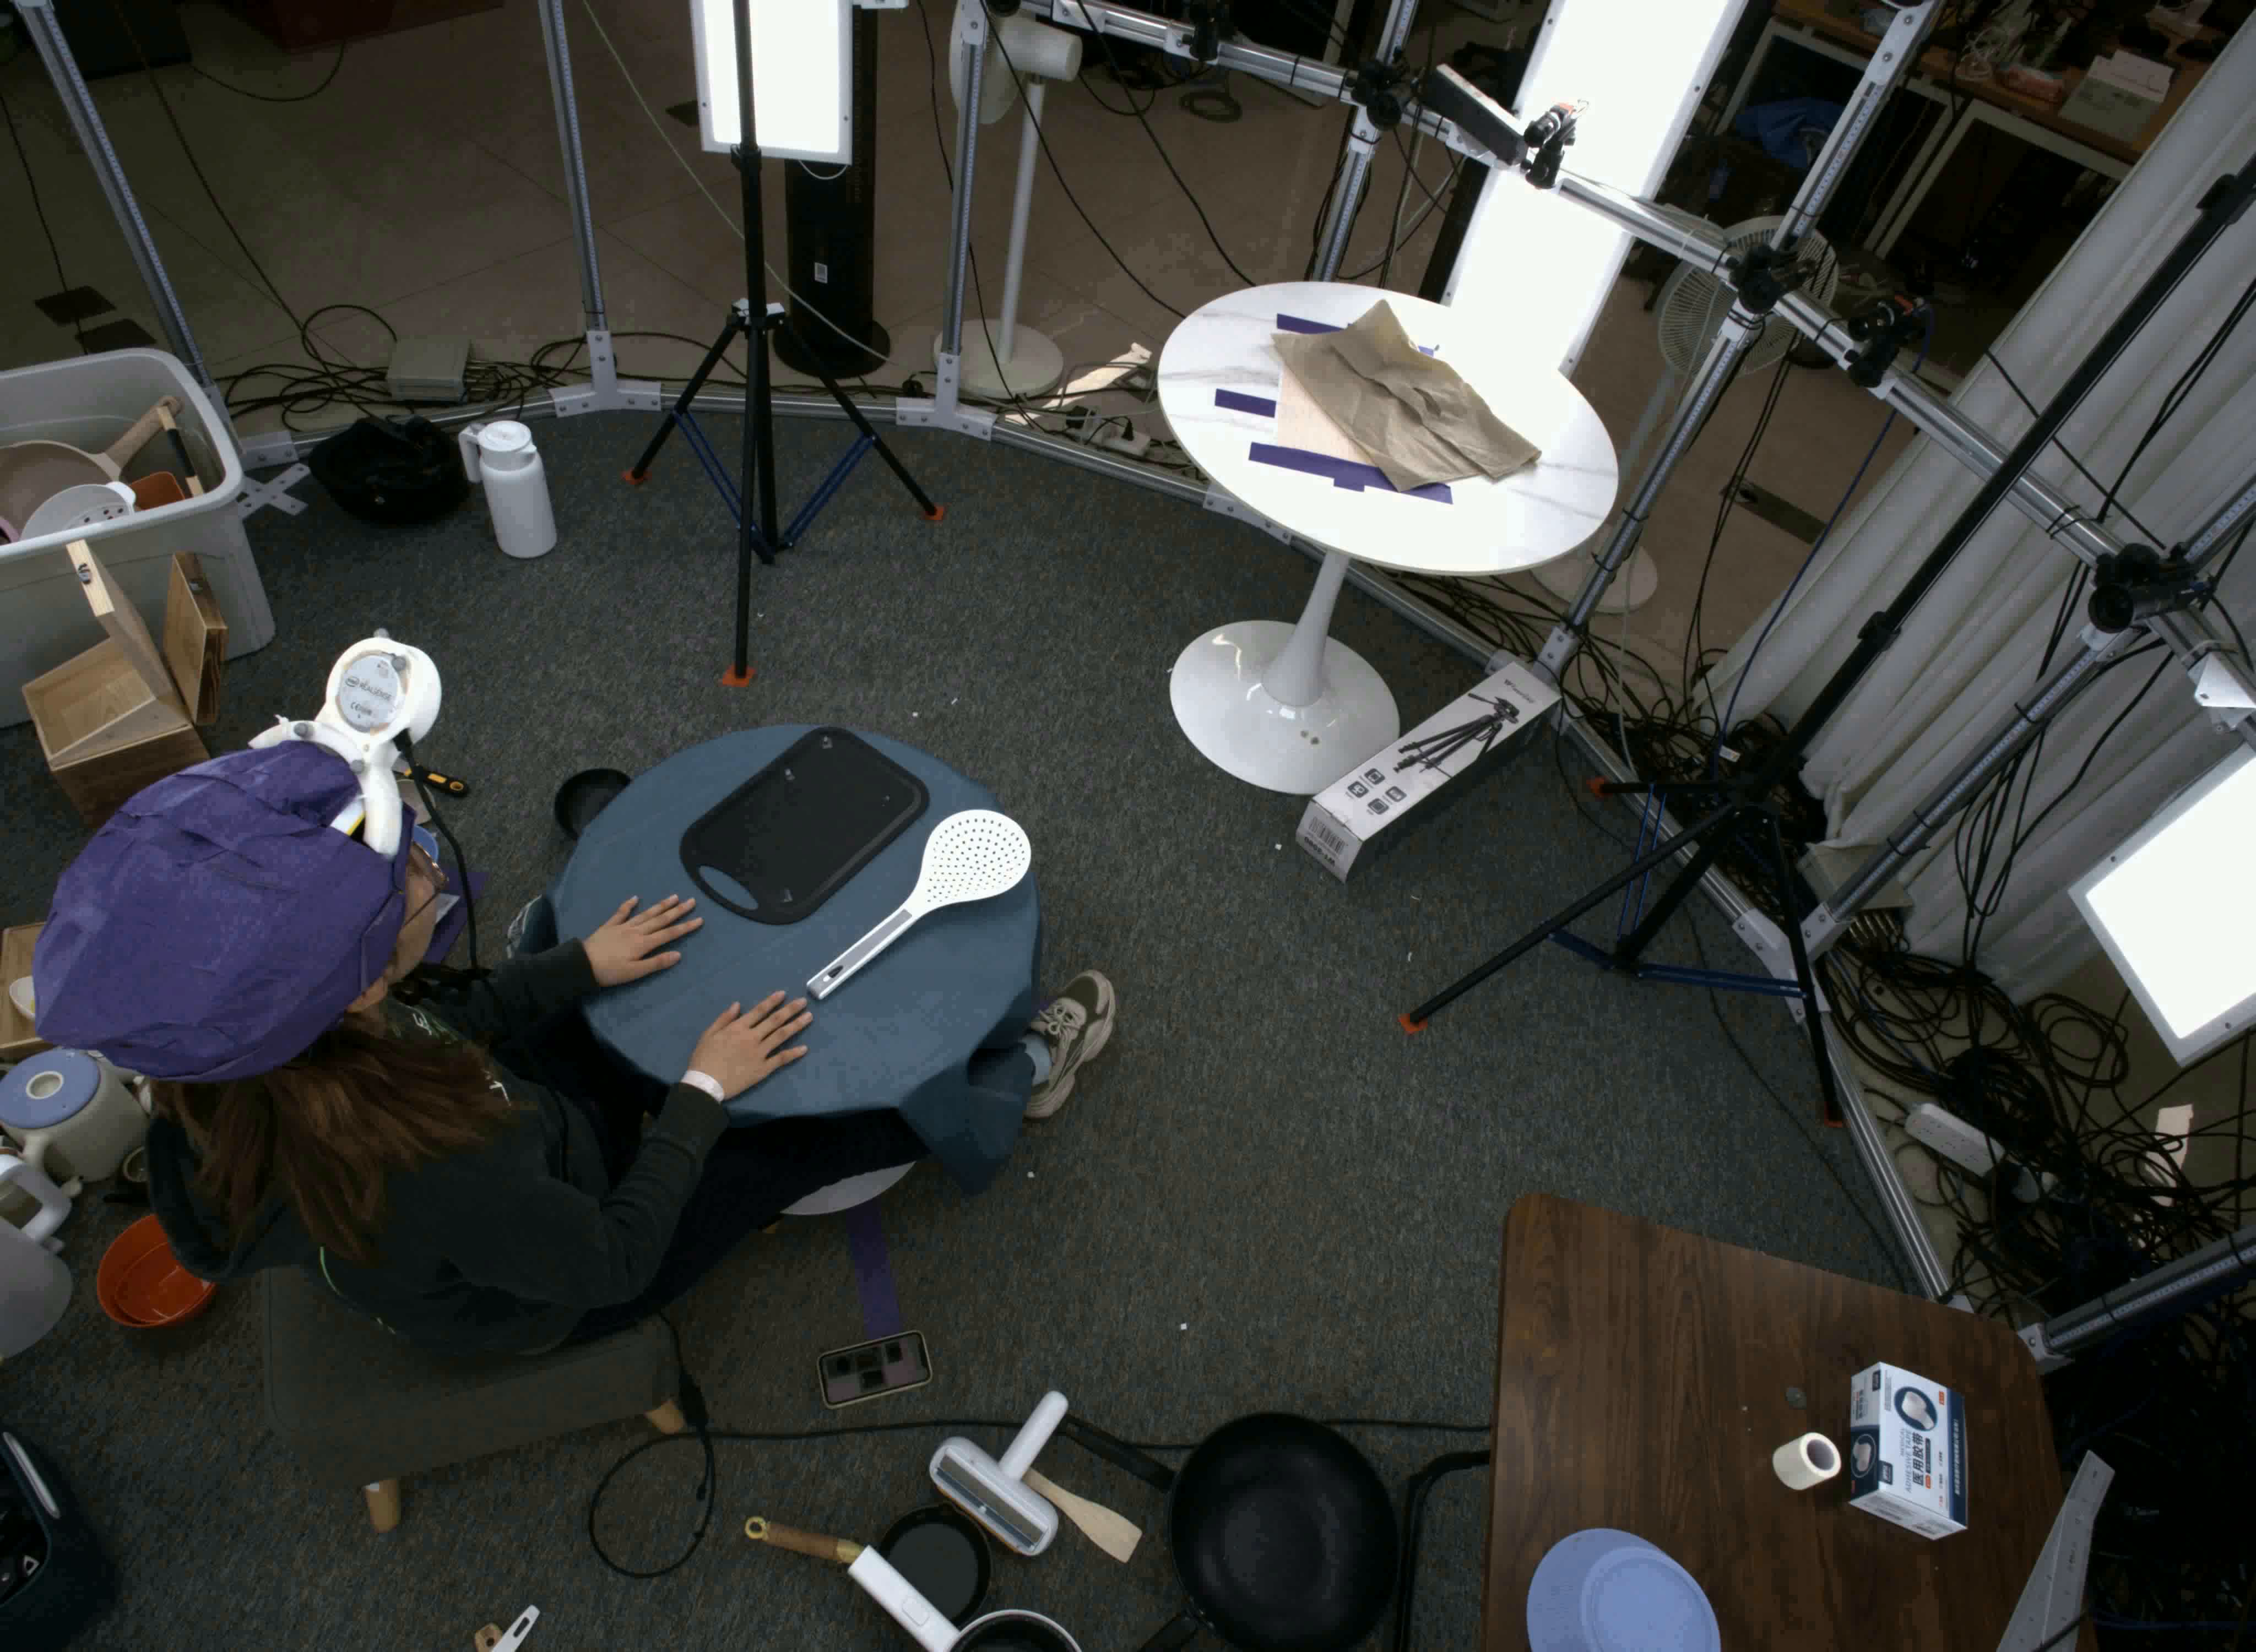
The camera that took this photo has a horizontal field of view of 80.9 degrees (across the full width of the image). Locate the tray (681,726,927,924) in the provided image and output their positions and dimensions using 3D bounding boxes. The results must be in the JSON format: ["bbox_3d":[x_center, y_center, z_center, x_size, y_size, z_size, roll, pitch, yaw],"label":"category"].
[{"bbox_3d":[-0.432,-0.005,1.727,0.207,0.010,0.325,34,54,12],"label":"tray"}]

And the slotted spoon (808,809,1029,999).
[{"bbox_3d":[-0.269,0.099,1.666,0.133,0.047,0.350,38,55,18],"label":"slotted spoon"}]
